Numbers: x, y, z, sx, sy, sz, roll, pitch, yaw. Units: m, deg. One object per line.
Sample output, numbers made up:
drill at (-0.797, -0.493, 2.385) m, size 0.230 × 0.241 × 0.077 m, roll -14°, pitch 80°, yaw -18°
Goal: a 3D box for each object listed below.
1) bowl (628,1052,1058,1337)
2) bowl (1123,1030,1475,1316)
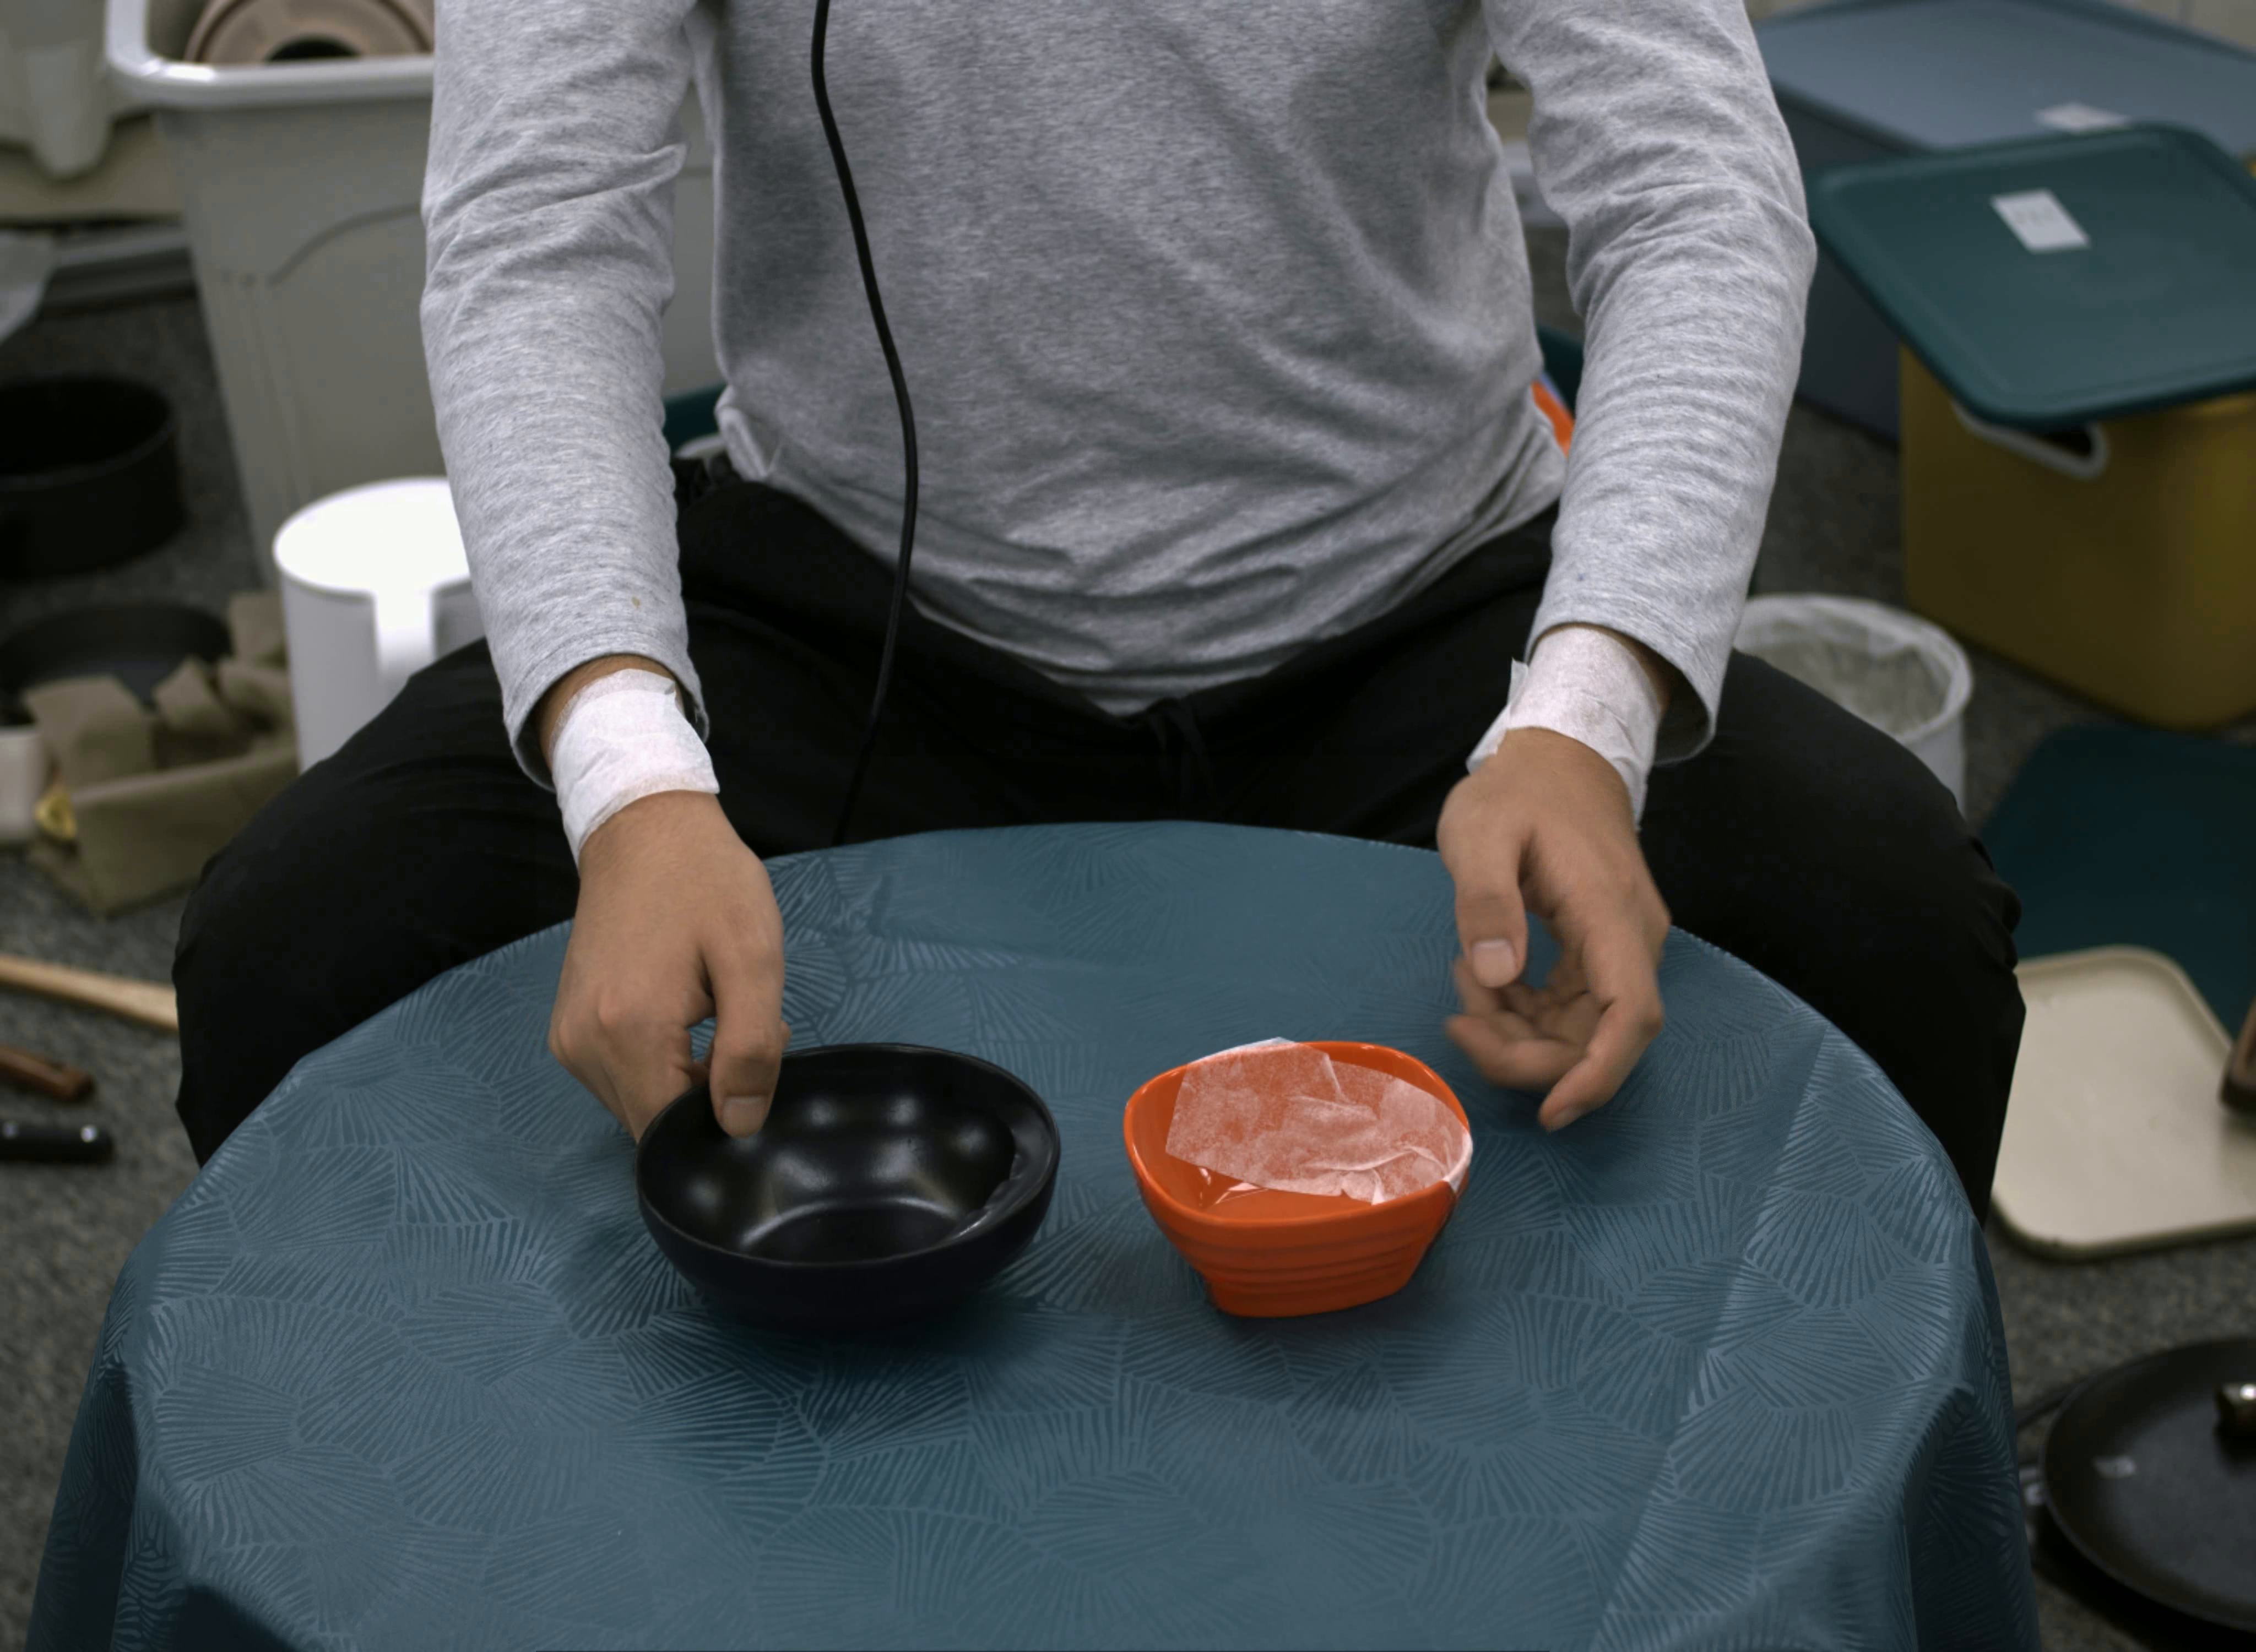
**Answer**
bowl at (-0.090, 0.126, 1.811) m, size 0.139 × 0.049 × 0.142 m, roll -2°, pitch 24°, yaw 1°
bowl at (0.055, 0.117, 1.808) m, size 0.118 × 0.051 × 0.121 m, roll -3°, pitch 29°, yaw 2°
